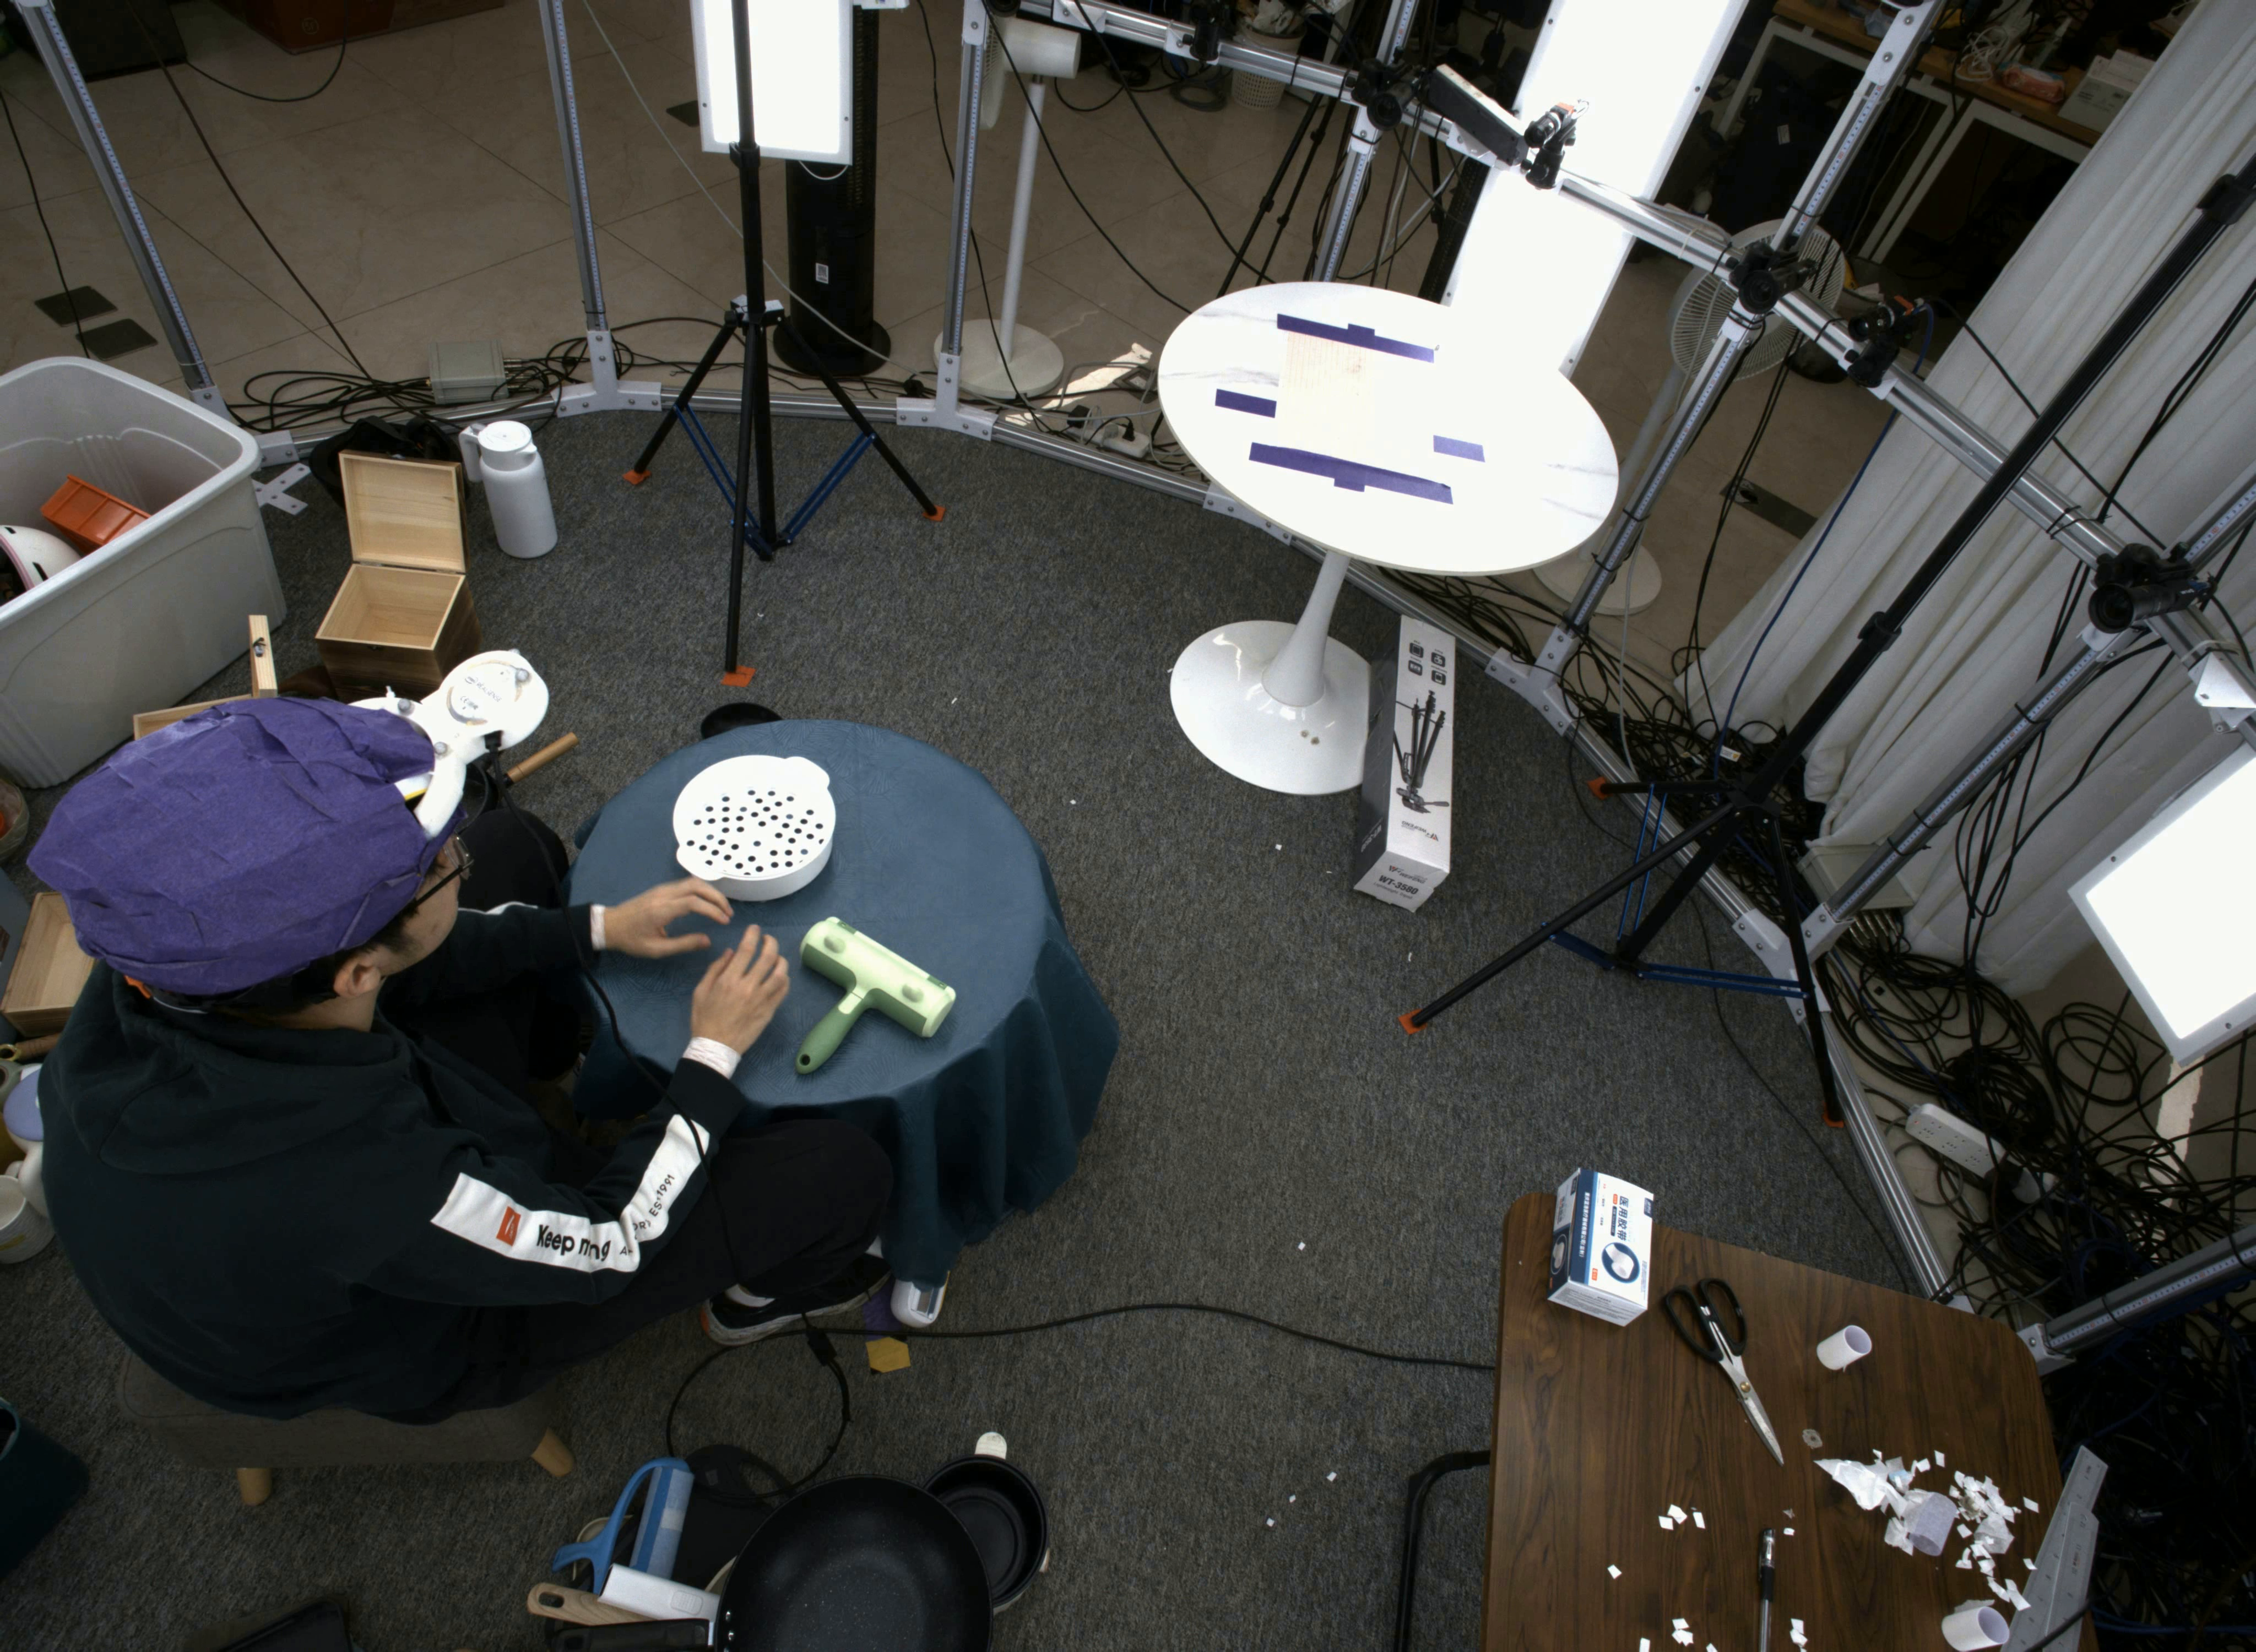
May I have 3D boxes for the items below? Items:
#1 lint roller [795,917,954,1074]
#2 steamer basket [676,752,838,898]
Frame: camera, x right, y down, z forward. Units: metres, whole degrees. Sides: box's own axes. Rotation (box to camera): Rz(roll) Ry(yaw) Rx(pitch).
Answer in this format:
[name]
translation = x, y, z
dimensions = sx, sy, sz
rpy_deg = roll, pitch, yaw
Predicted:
[lint roller]
translation = -0.335, 0.210, 1.548
dimensions = 0.195, 0.084, 0.183
rpy_deg = 31, 48, 9
[steamer basket]
translation = -0.478, -0.001, 1.672
dimensions = 0.198, 0.070, 0.230
rpy_deg = 33, 51, 10
